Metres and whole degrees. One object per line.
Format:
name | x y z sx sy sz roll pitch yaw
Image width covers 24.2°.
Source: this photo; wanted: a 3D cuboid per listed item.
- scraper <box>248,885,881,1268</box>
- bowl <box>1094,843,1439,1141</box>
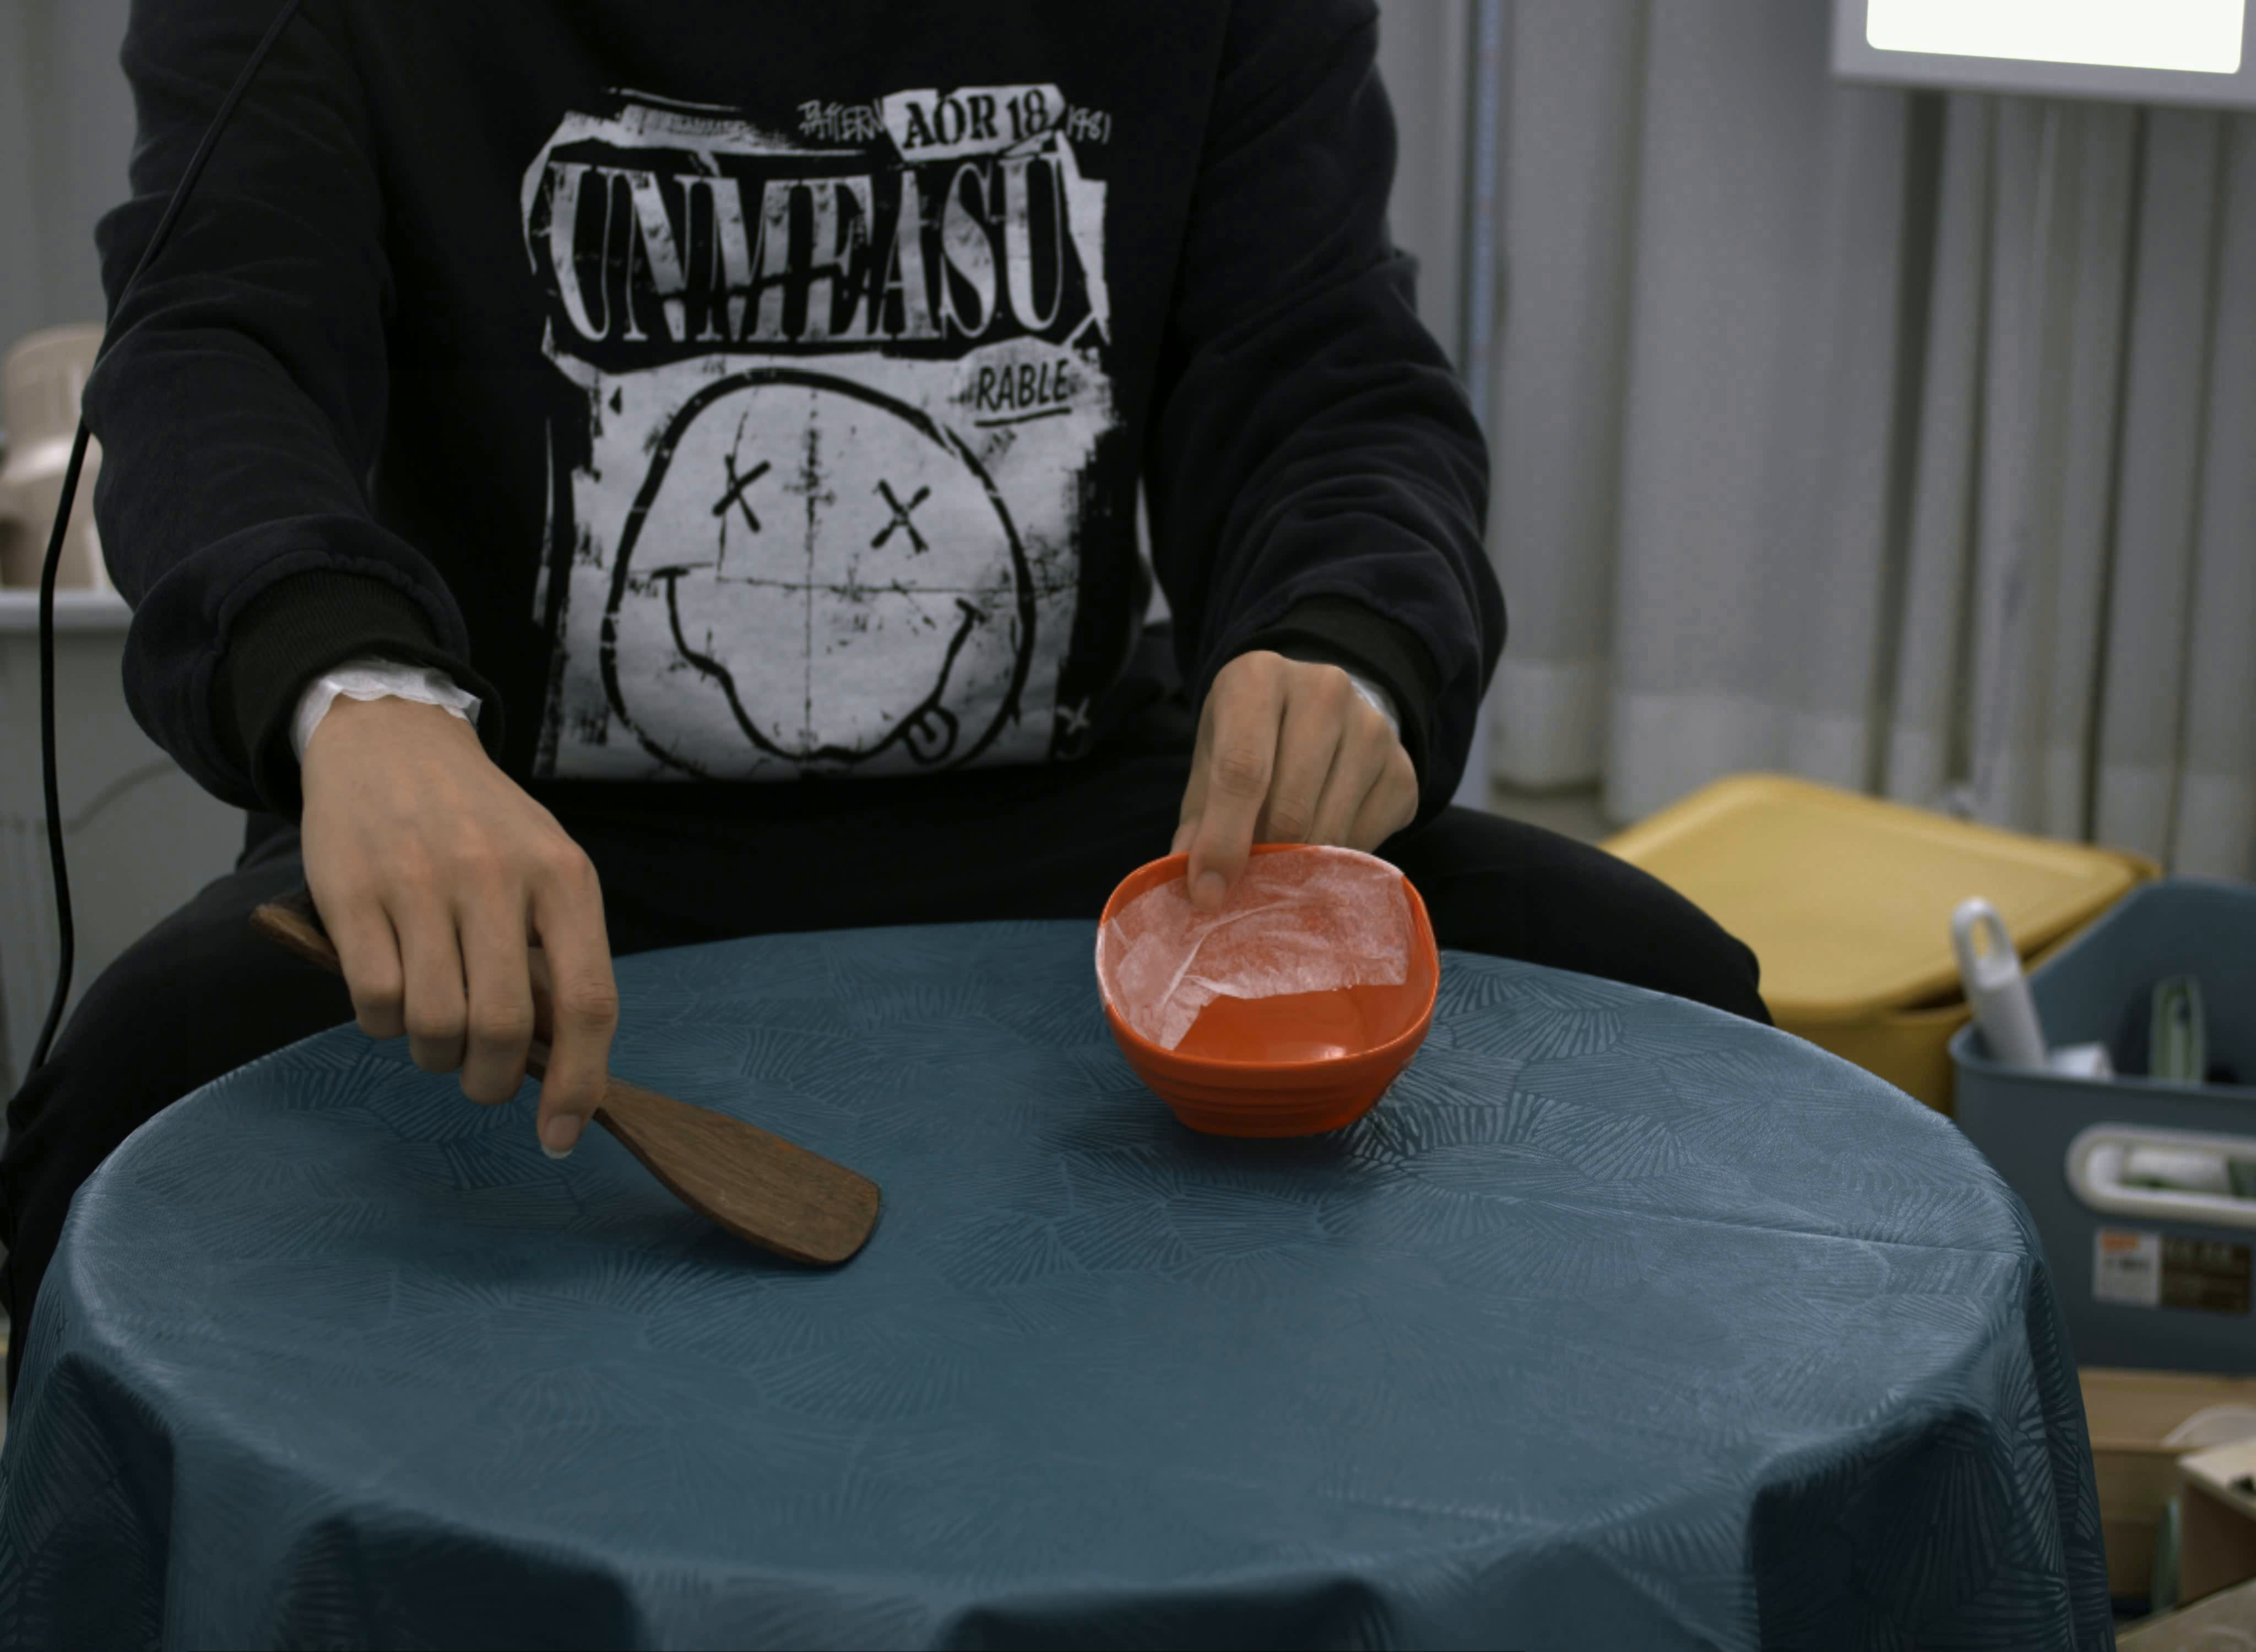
scraper | -0.171 0.073 1.583 0.211 0.011 0.075 30 20 -2
bowl | 0.044 0.060 1.686 0.118 0.052 0.118 1 41 0
